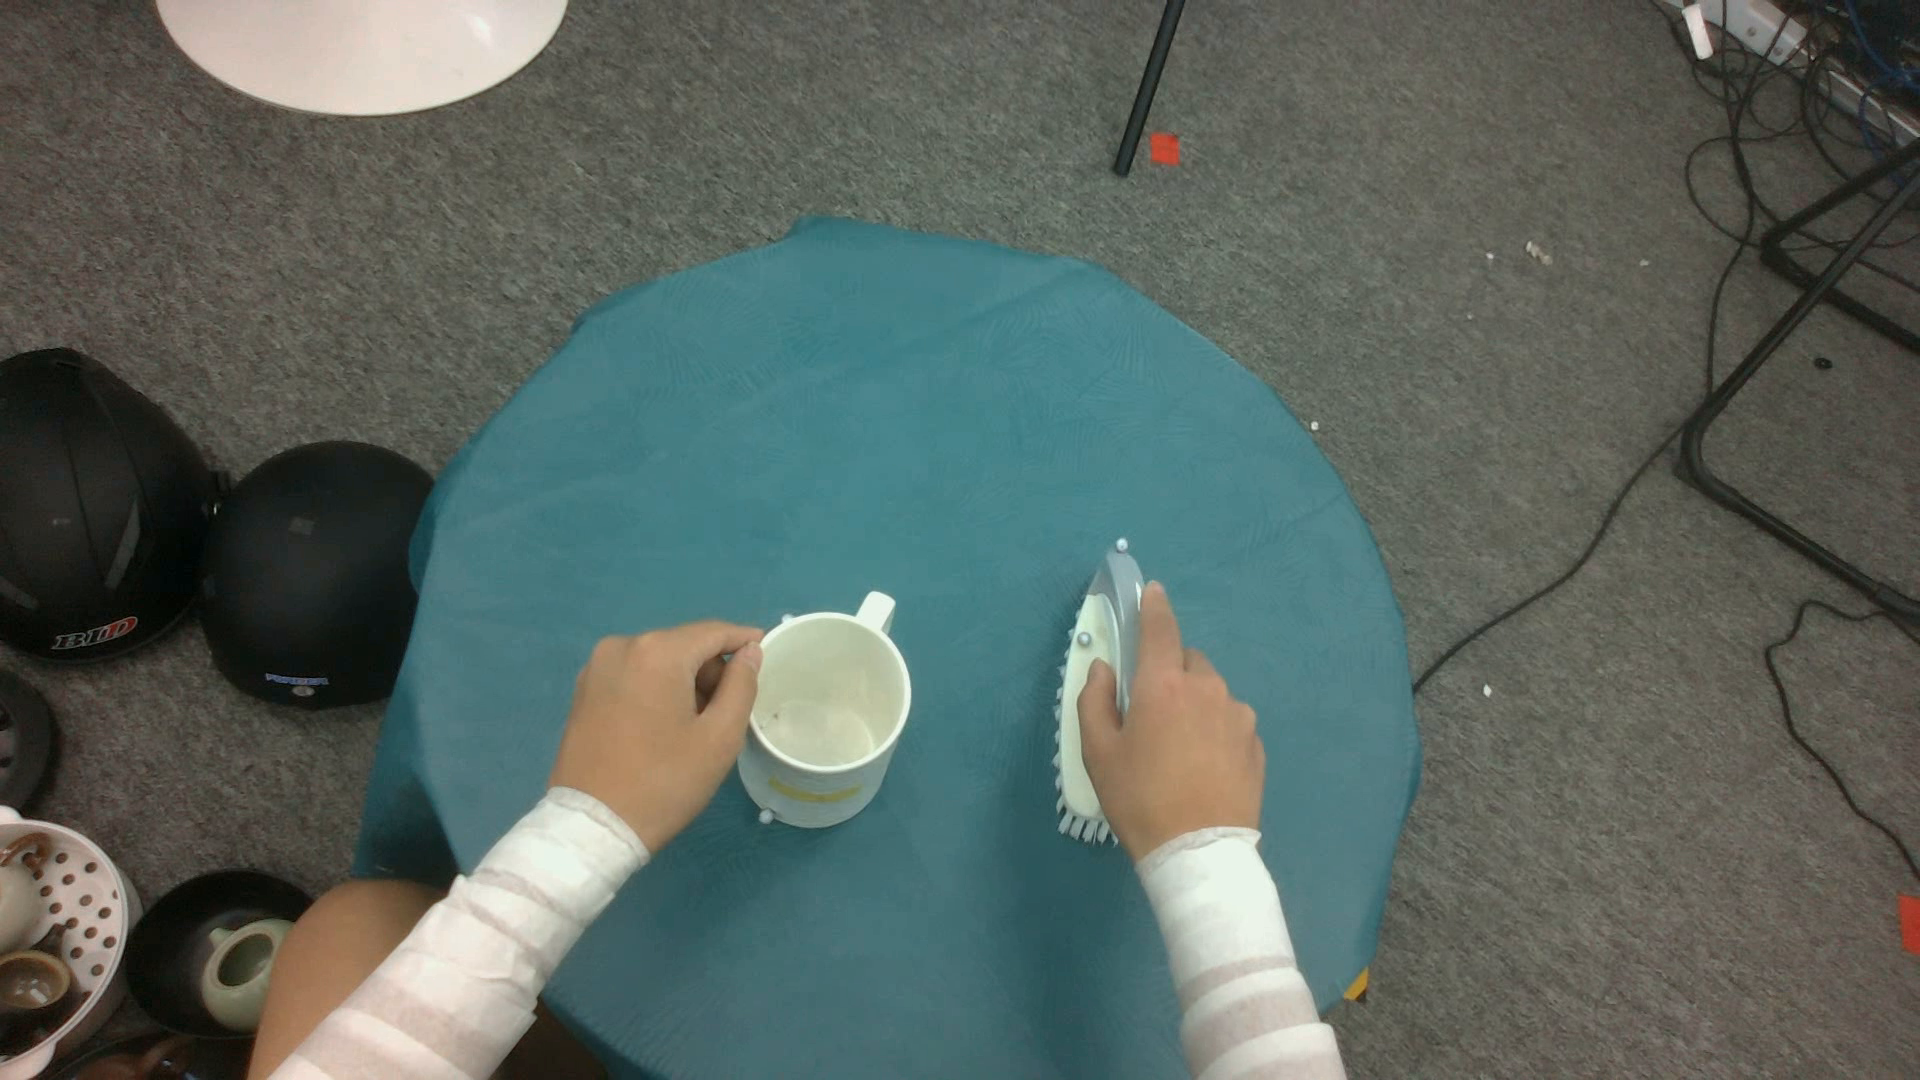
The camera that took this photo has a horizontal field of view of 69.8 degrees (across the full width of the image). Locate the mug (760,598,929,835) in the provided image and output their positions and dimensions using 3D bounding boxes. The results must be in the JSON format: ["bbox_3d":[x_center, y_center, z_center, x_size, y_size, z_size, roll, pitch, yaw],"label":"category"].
[{"bbox_3d":[-0.059,0.092,0.750,0.085,0.101,0.119,21,59,3],"label":"mug"}]

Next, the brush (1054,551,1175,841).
[{"bbox_3d":[0.094,0.075,0.791,0.061,0.094,0.176,10,58,-10],"label":"brush"}]
